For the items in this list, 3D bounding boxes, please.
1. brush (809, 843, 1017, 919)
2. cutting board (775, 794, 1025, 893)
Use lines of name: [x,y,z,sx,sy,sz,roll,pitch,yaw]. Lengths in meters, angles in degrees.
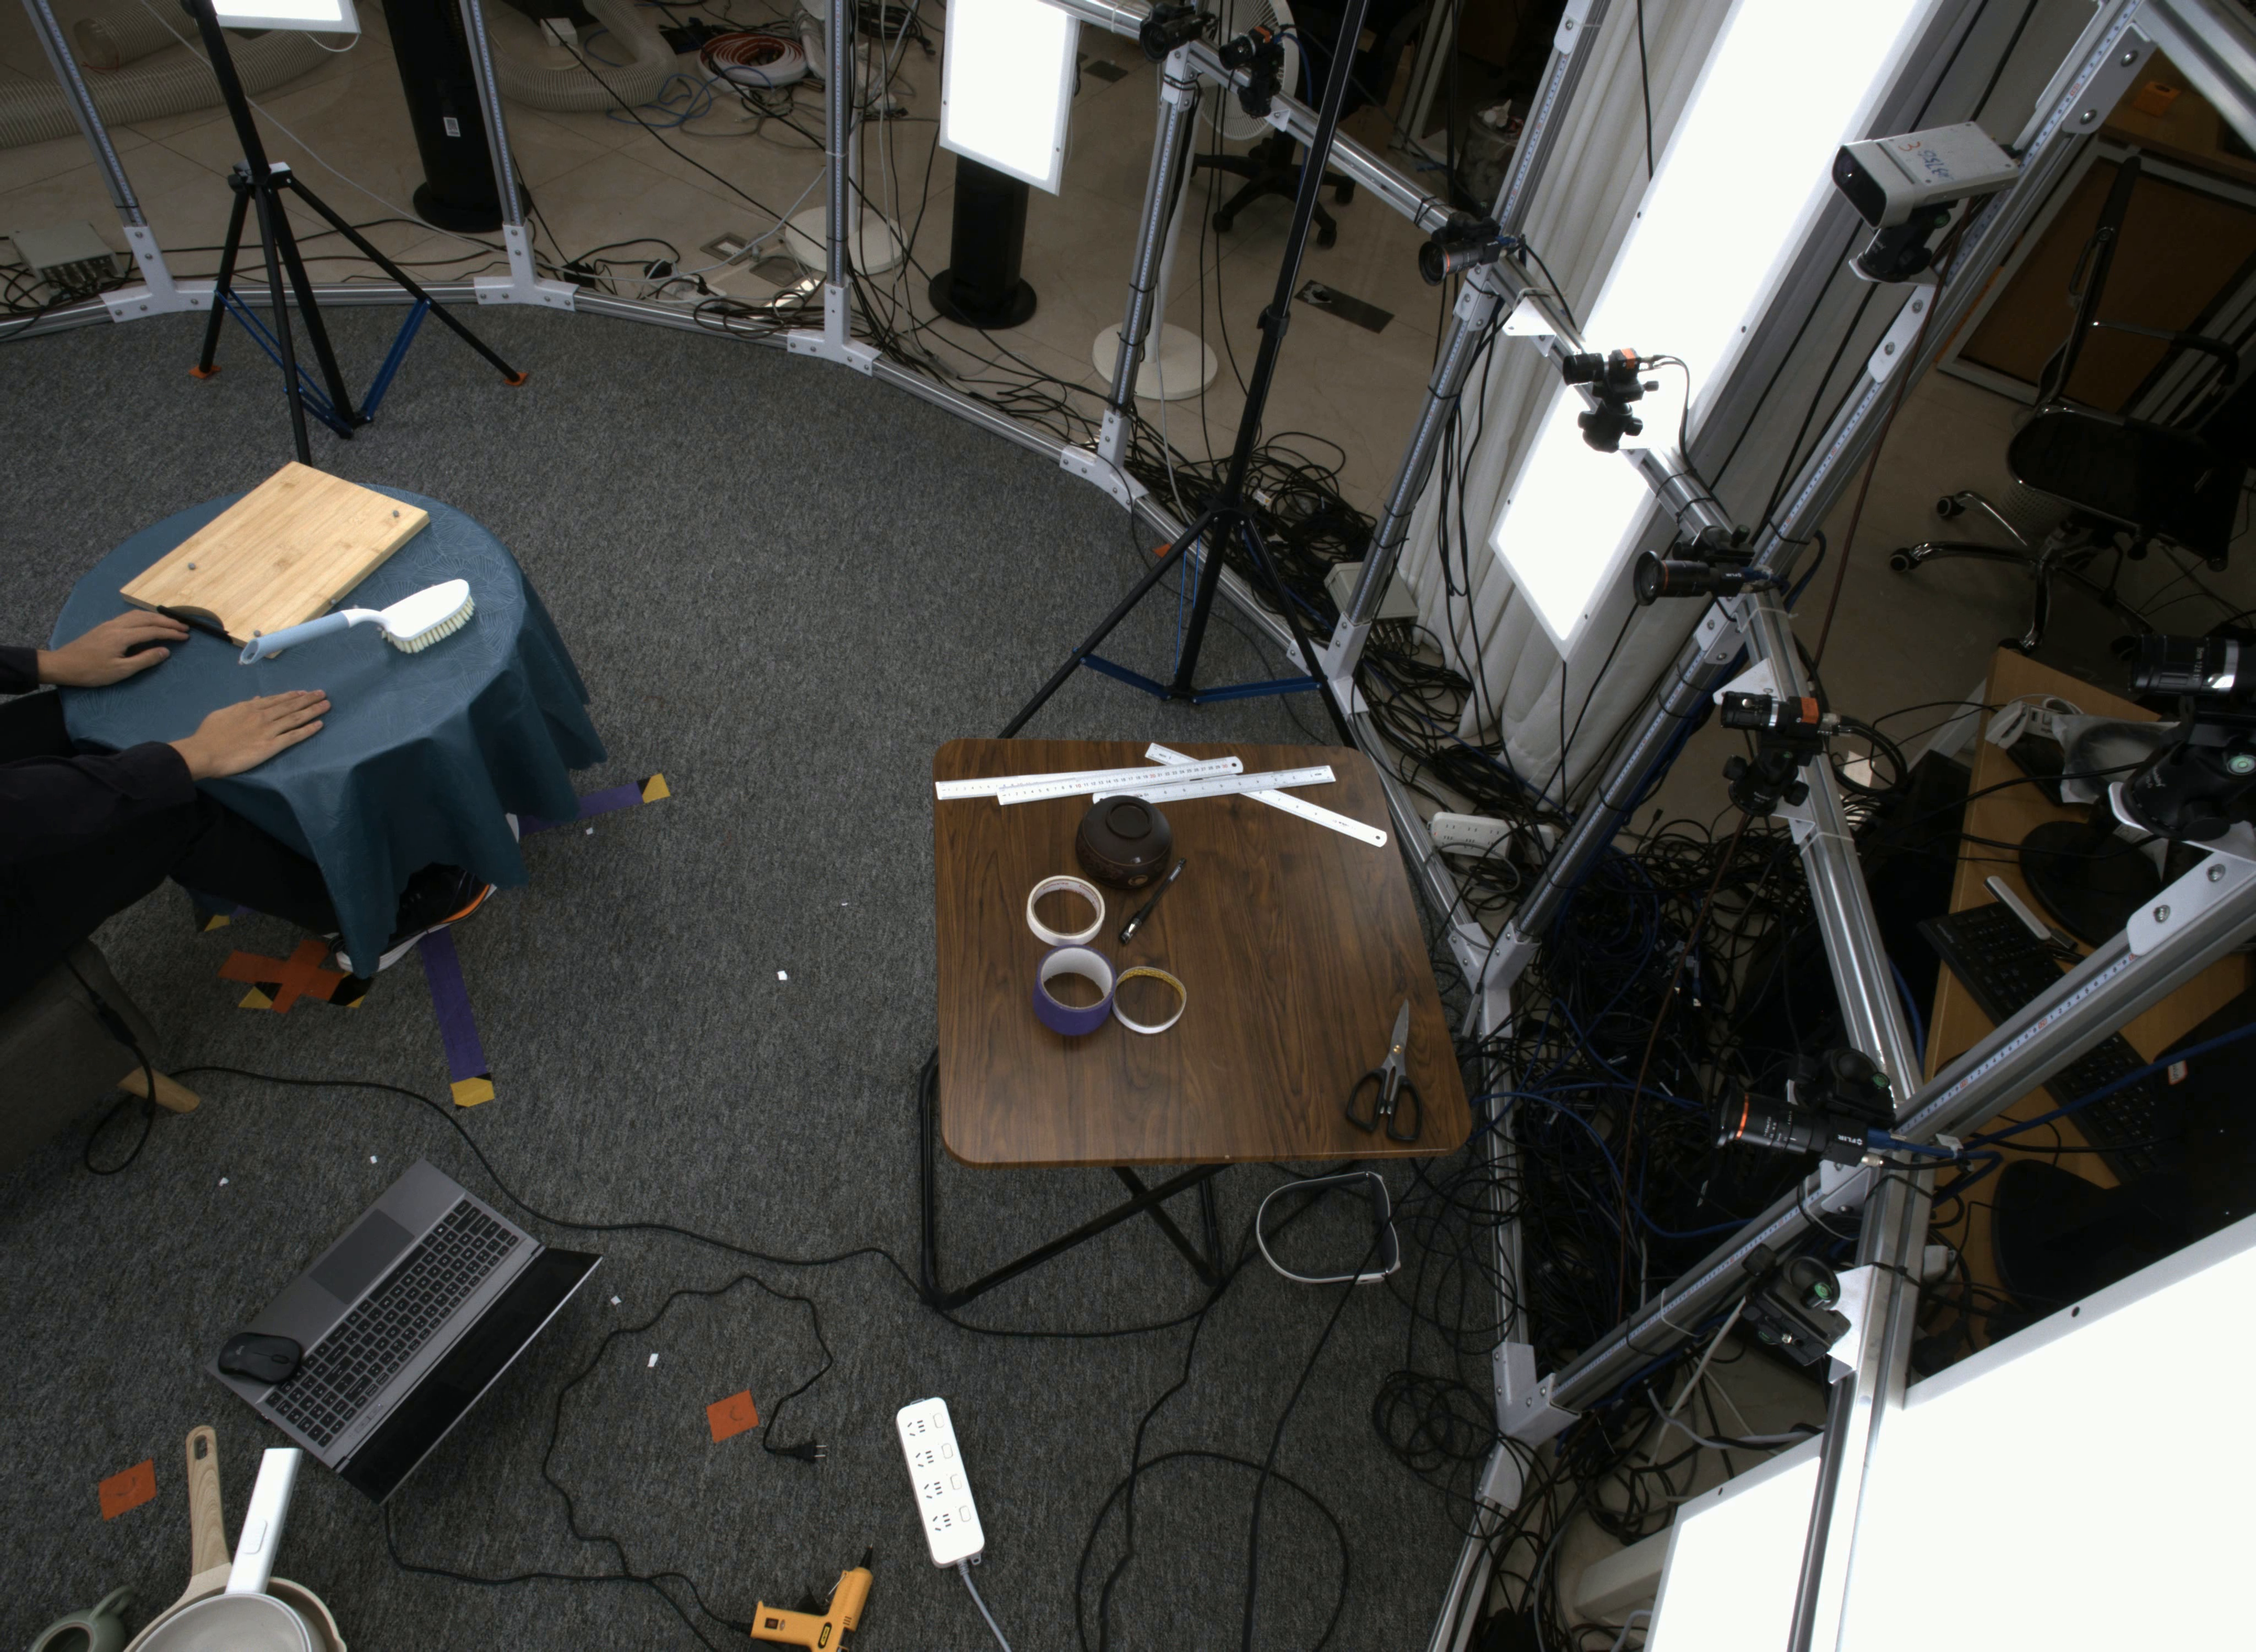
brush: [-0.322,0.091,1.946,0.330,0.084,0.082,9,-16,-27]
cutting board: [-0.377,0.022,2.174,0.353,0.024,0.241,-13,30,-40]
